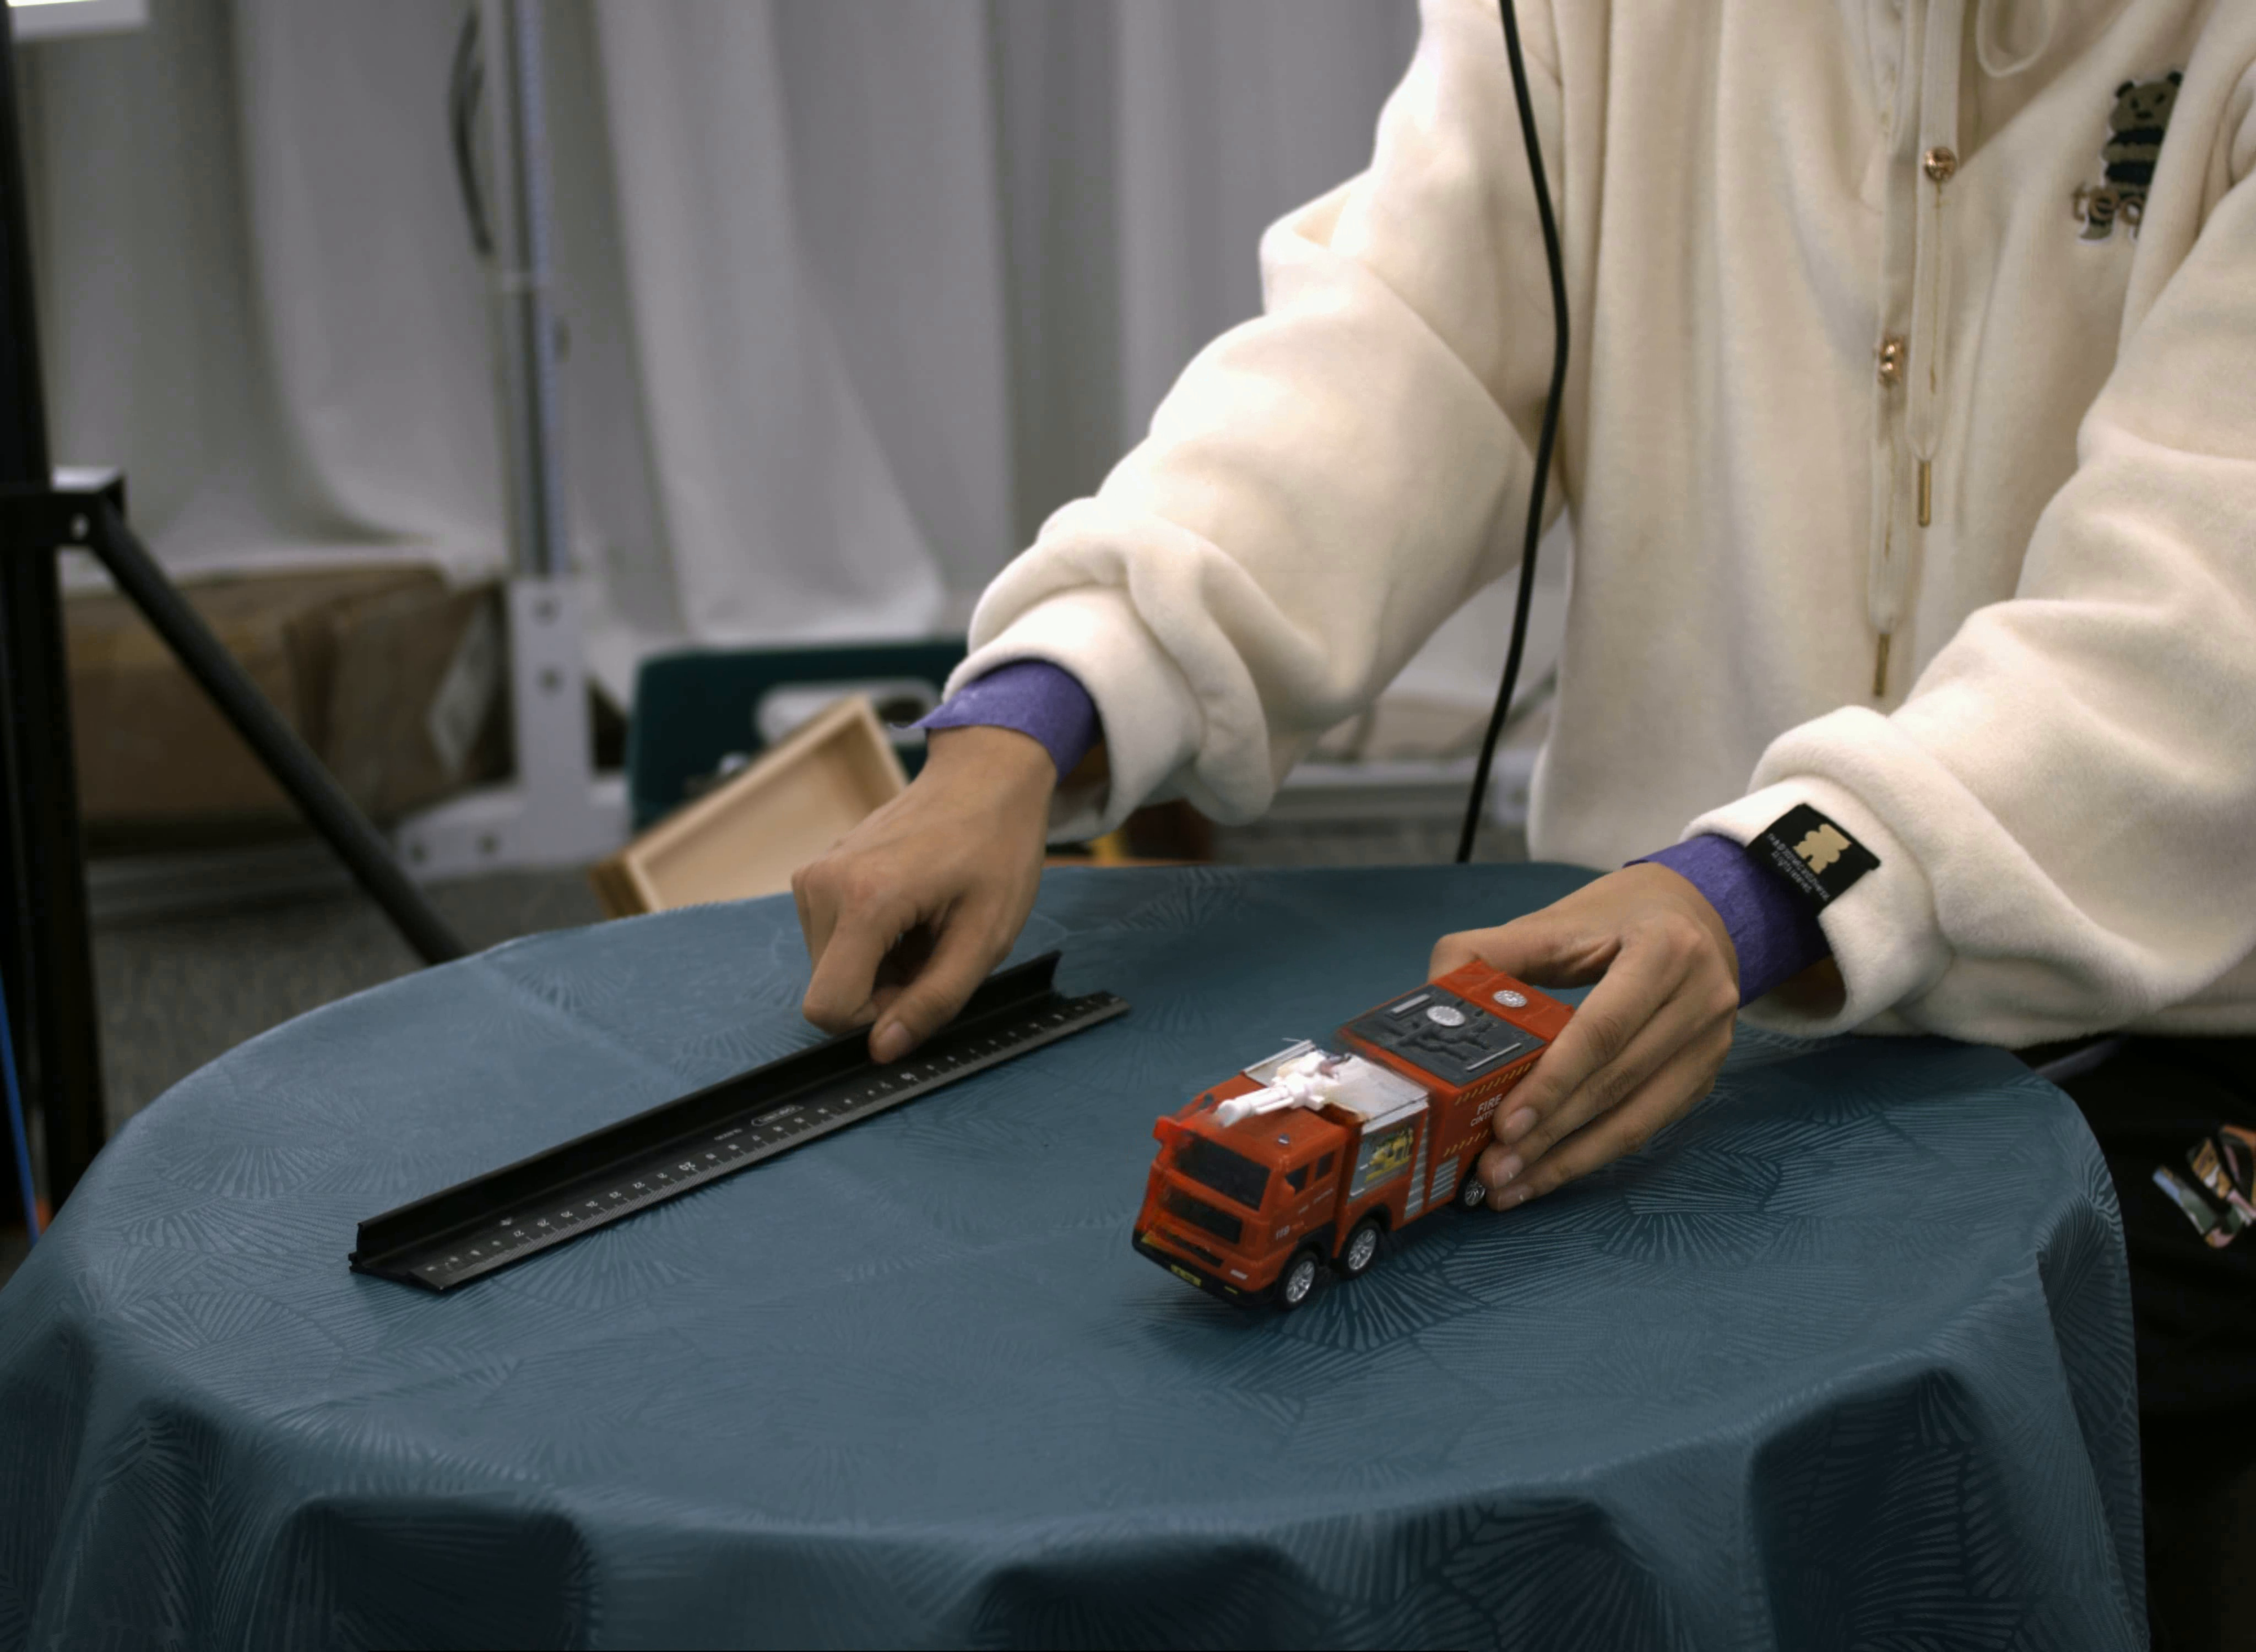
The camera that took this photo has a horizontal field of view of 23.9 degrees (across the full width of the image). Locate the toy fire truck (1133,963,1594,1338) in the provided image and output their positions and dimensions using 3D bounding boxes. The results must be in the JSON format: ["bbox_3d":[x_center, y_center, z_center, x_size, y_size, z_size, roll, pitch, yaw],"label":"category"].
[{"bbox_3d":[0.069,0.088,1.495,0.055,0.070,0.164,26,27,32],"label":"toy fire truck"}]

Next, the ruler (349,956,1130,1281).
[{"bbox_3d":[-0.111,0.086,1.622,0.040,0.017,0.305,13,21,39],"label":"ruler"}]
